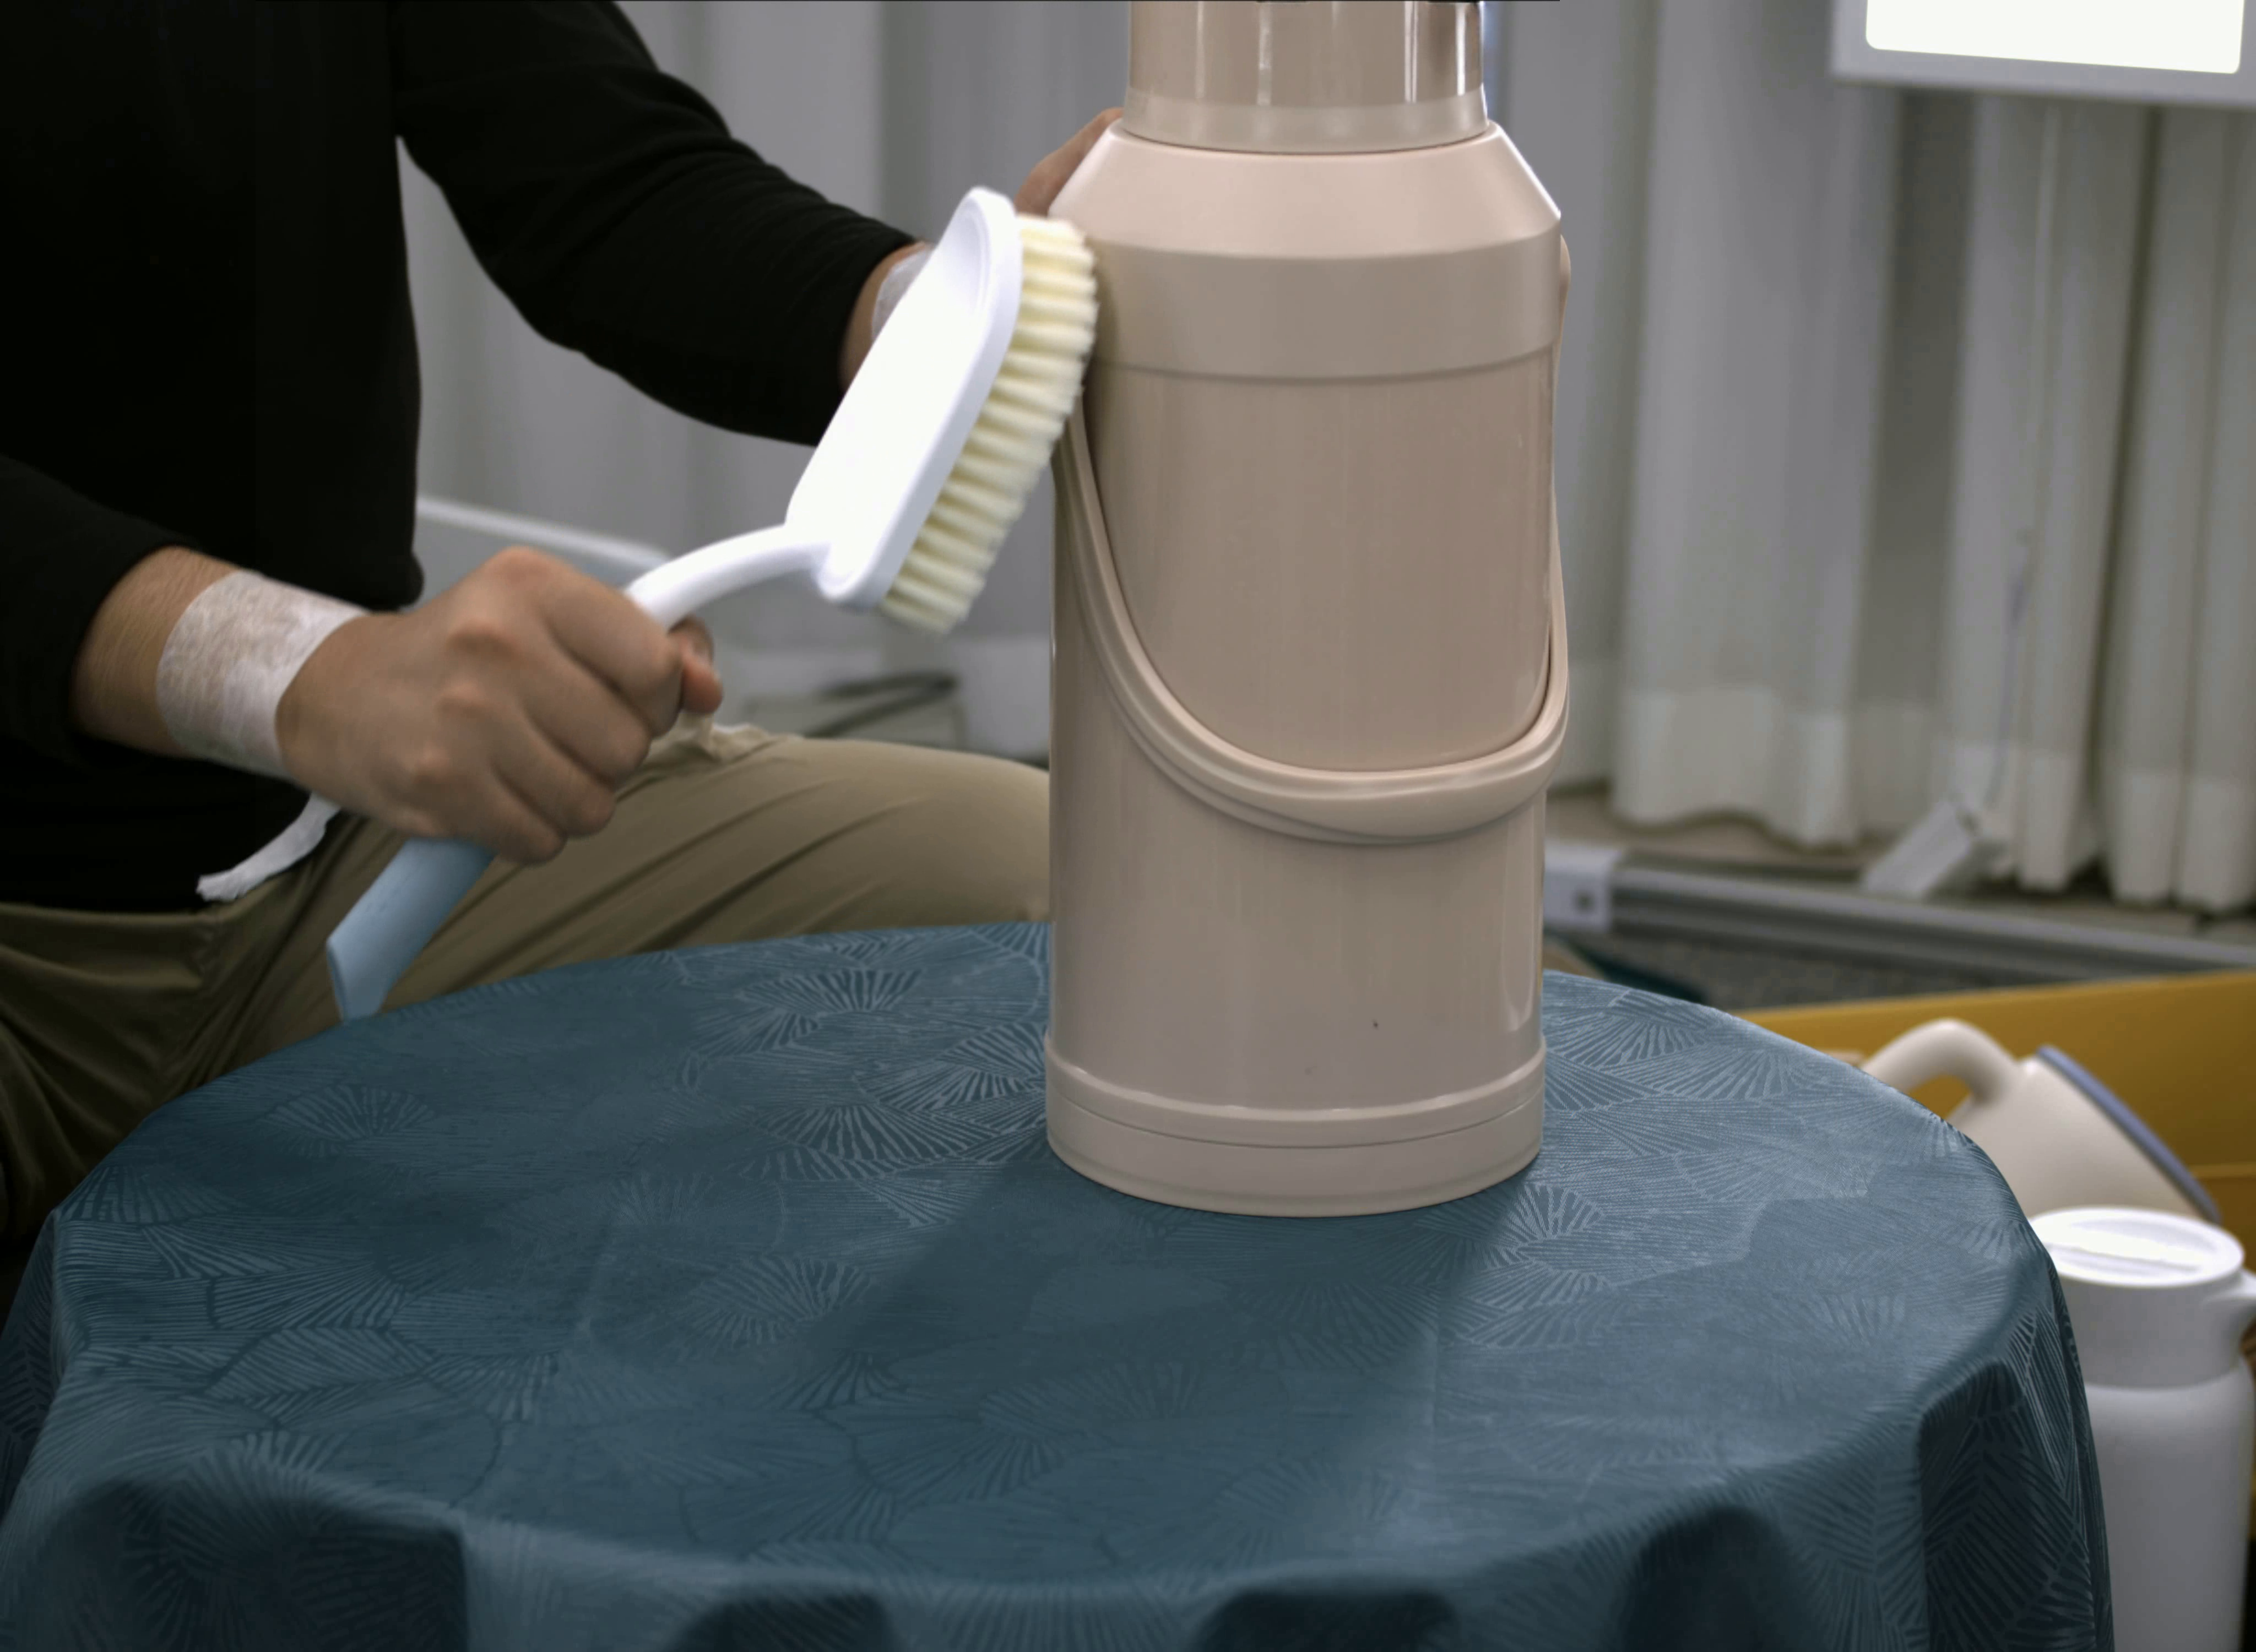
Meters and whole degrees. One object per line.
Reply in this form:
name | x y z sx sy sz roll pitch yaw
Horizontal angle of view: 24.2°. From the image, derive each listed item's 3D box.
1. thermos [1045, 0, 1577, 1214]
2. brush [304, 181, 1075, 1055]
thermos | 0.050 -0.097 1.632 0.176 0.410 0.204 -10 19 -27
brush | -0.119 -0.048 1.562 0.084 0.326 0.083 40 6 7
